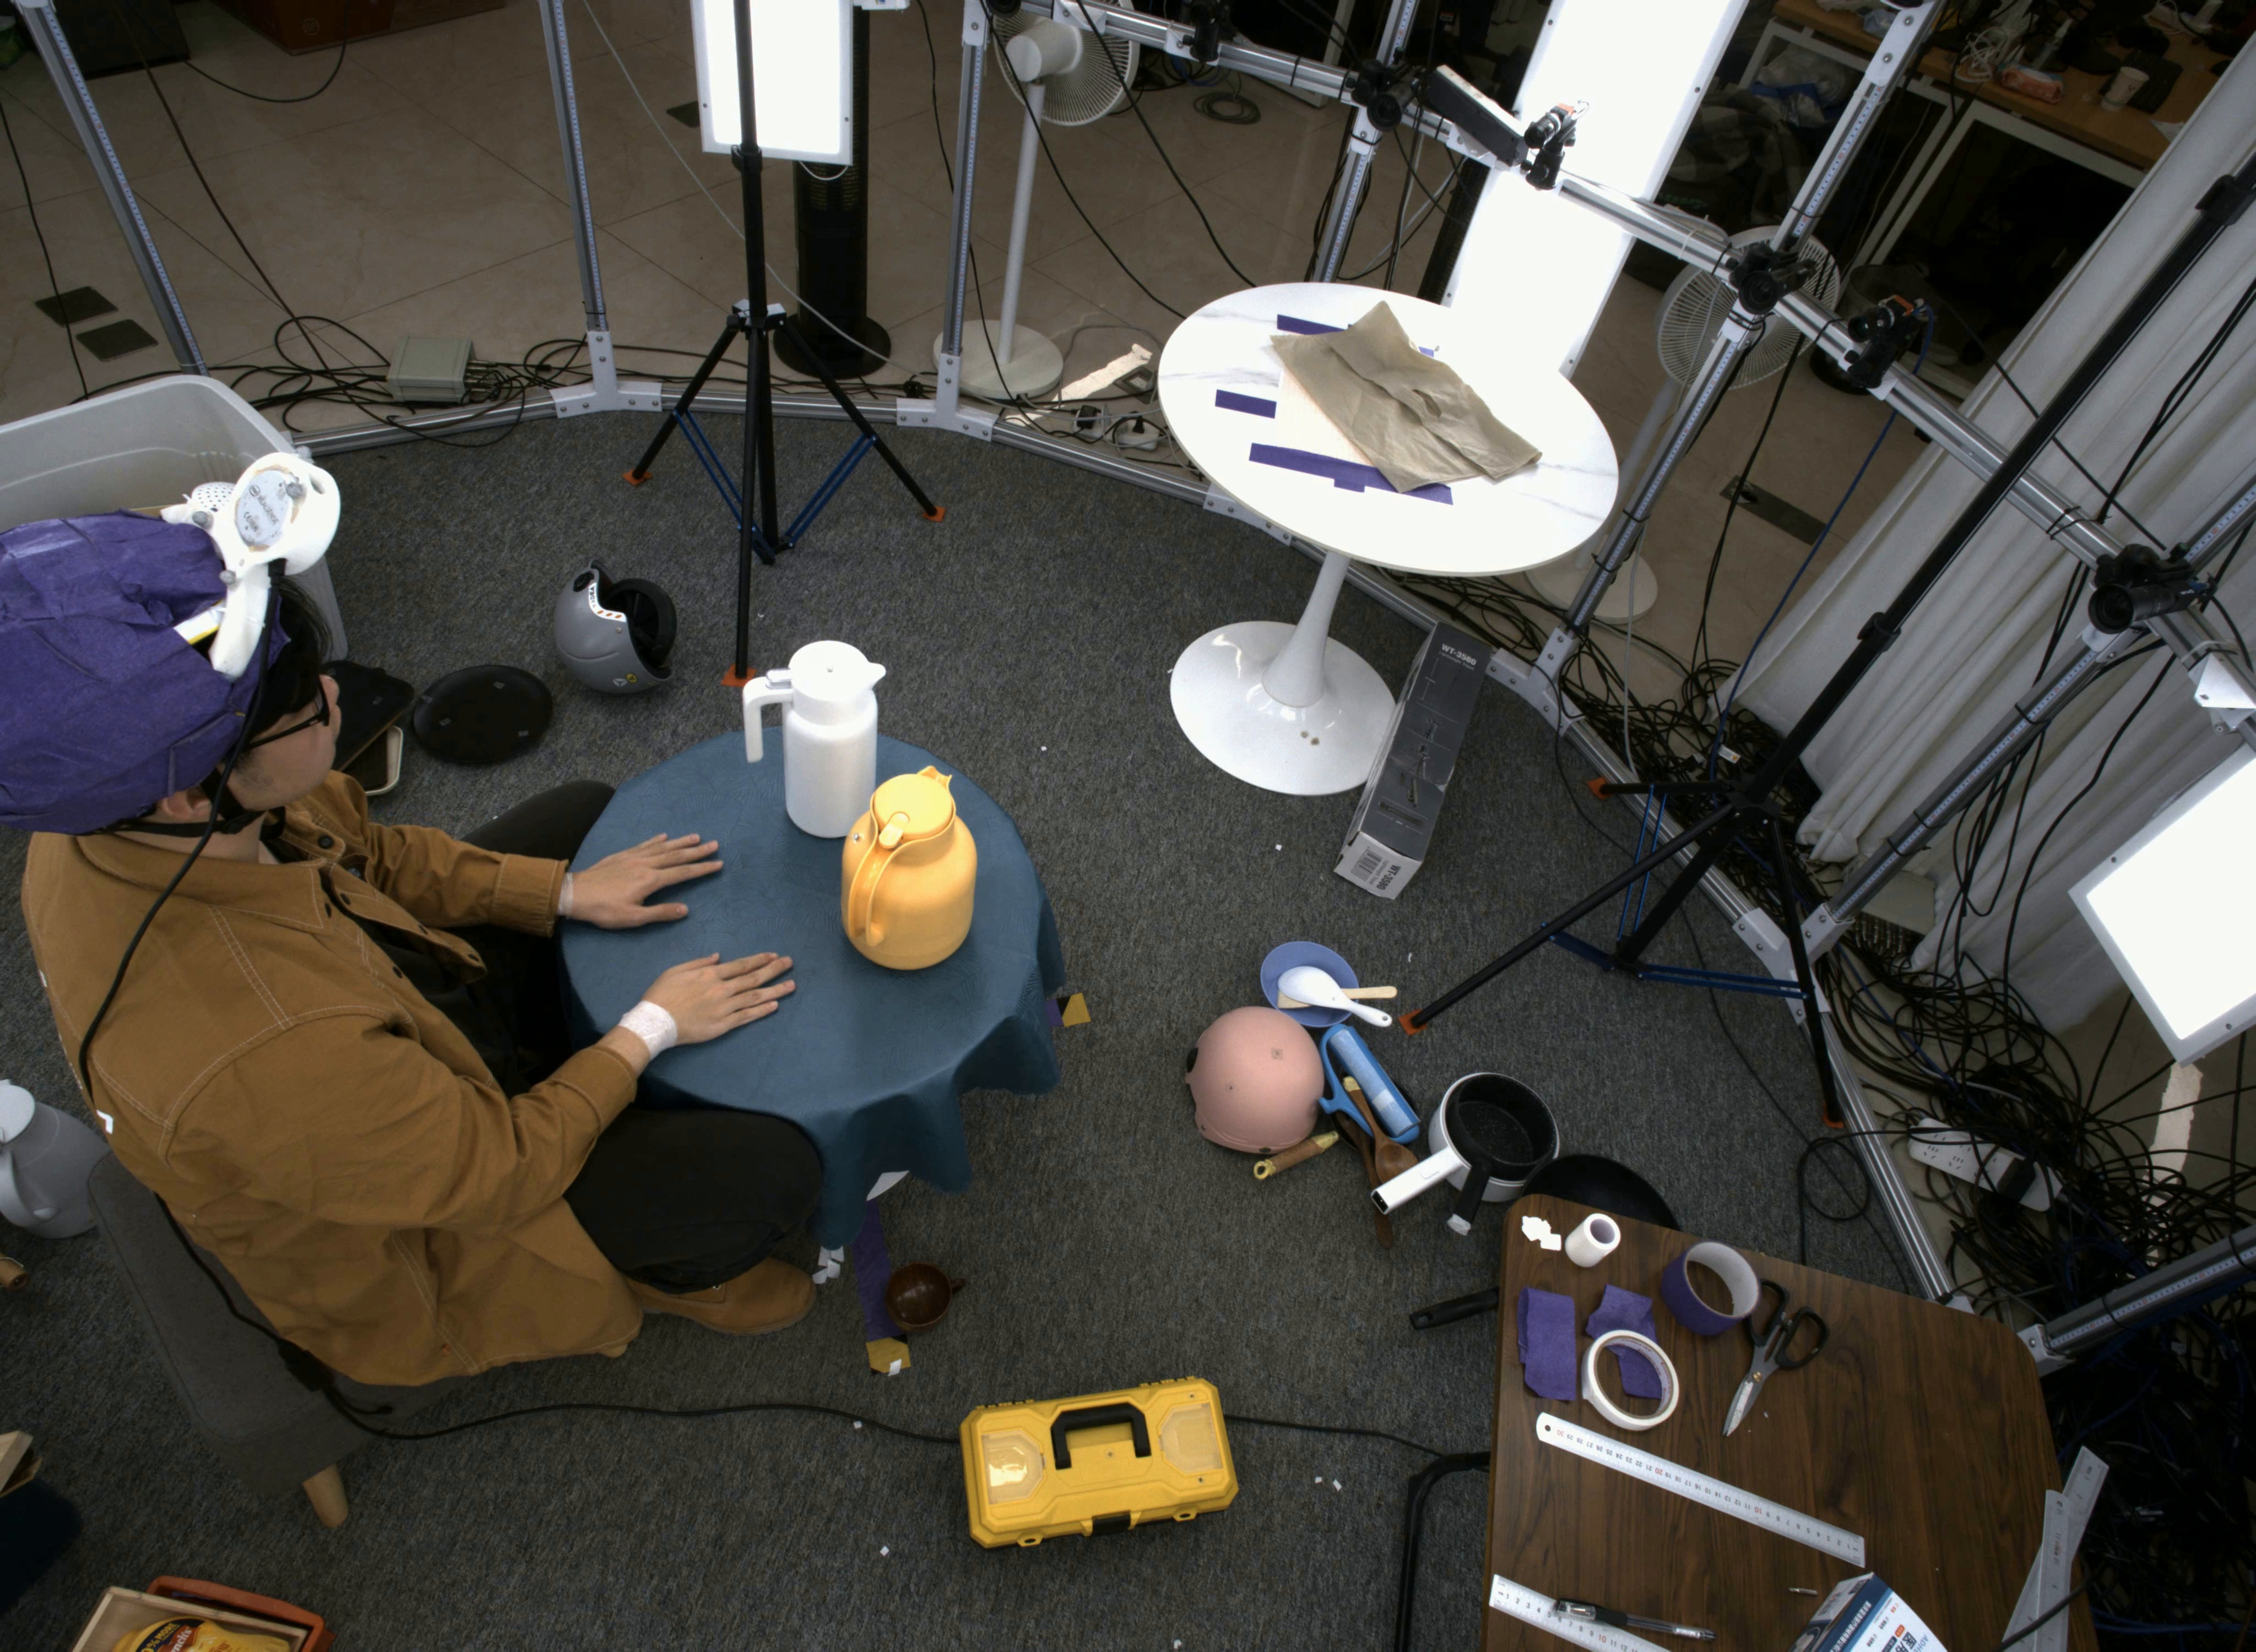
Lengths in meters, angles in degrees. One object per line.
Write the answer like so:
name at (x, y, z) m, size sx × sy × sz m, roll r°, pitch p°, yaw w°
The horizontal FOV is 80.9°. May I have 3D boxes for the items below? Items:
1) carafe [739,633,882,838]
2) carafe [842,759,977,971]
carafe at (-0.397, -0.107, 1.636) m, size 0.173 × 0.274 × 0.121 m, roll -10°, pitch 57°, yaw -19°
carafe at (-0.272, 0.057, 1.549) m, size 0.160 × 0.267 × 0.201 m, roll 24°, pitch 50°, yaw 10°
